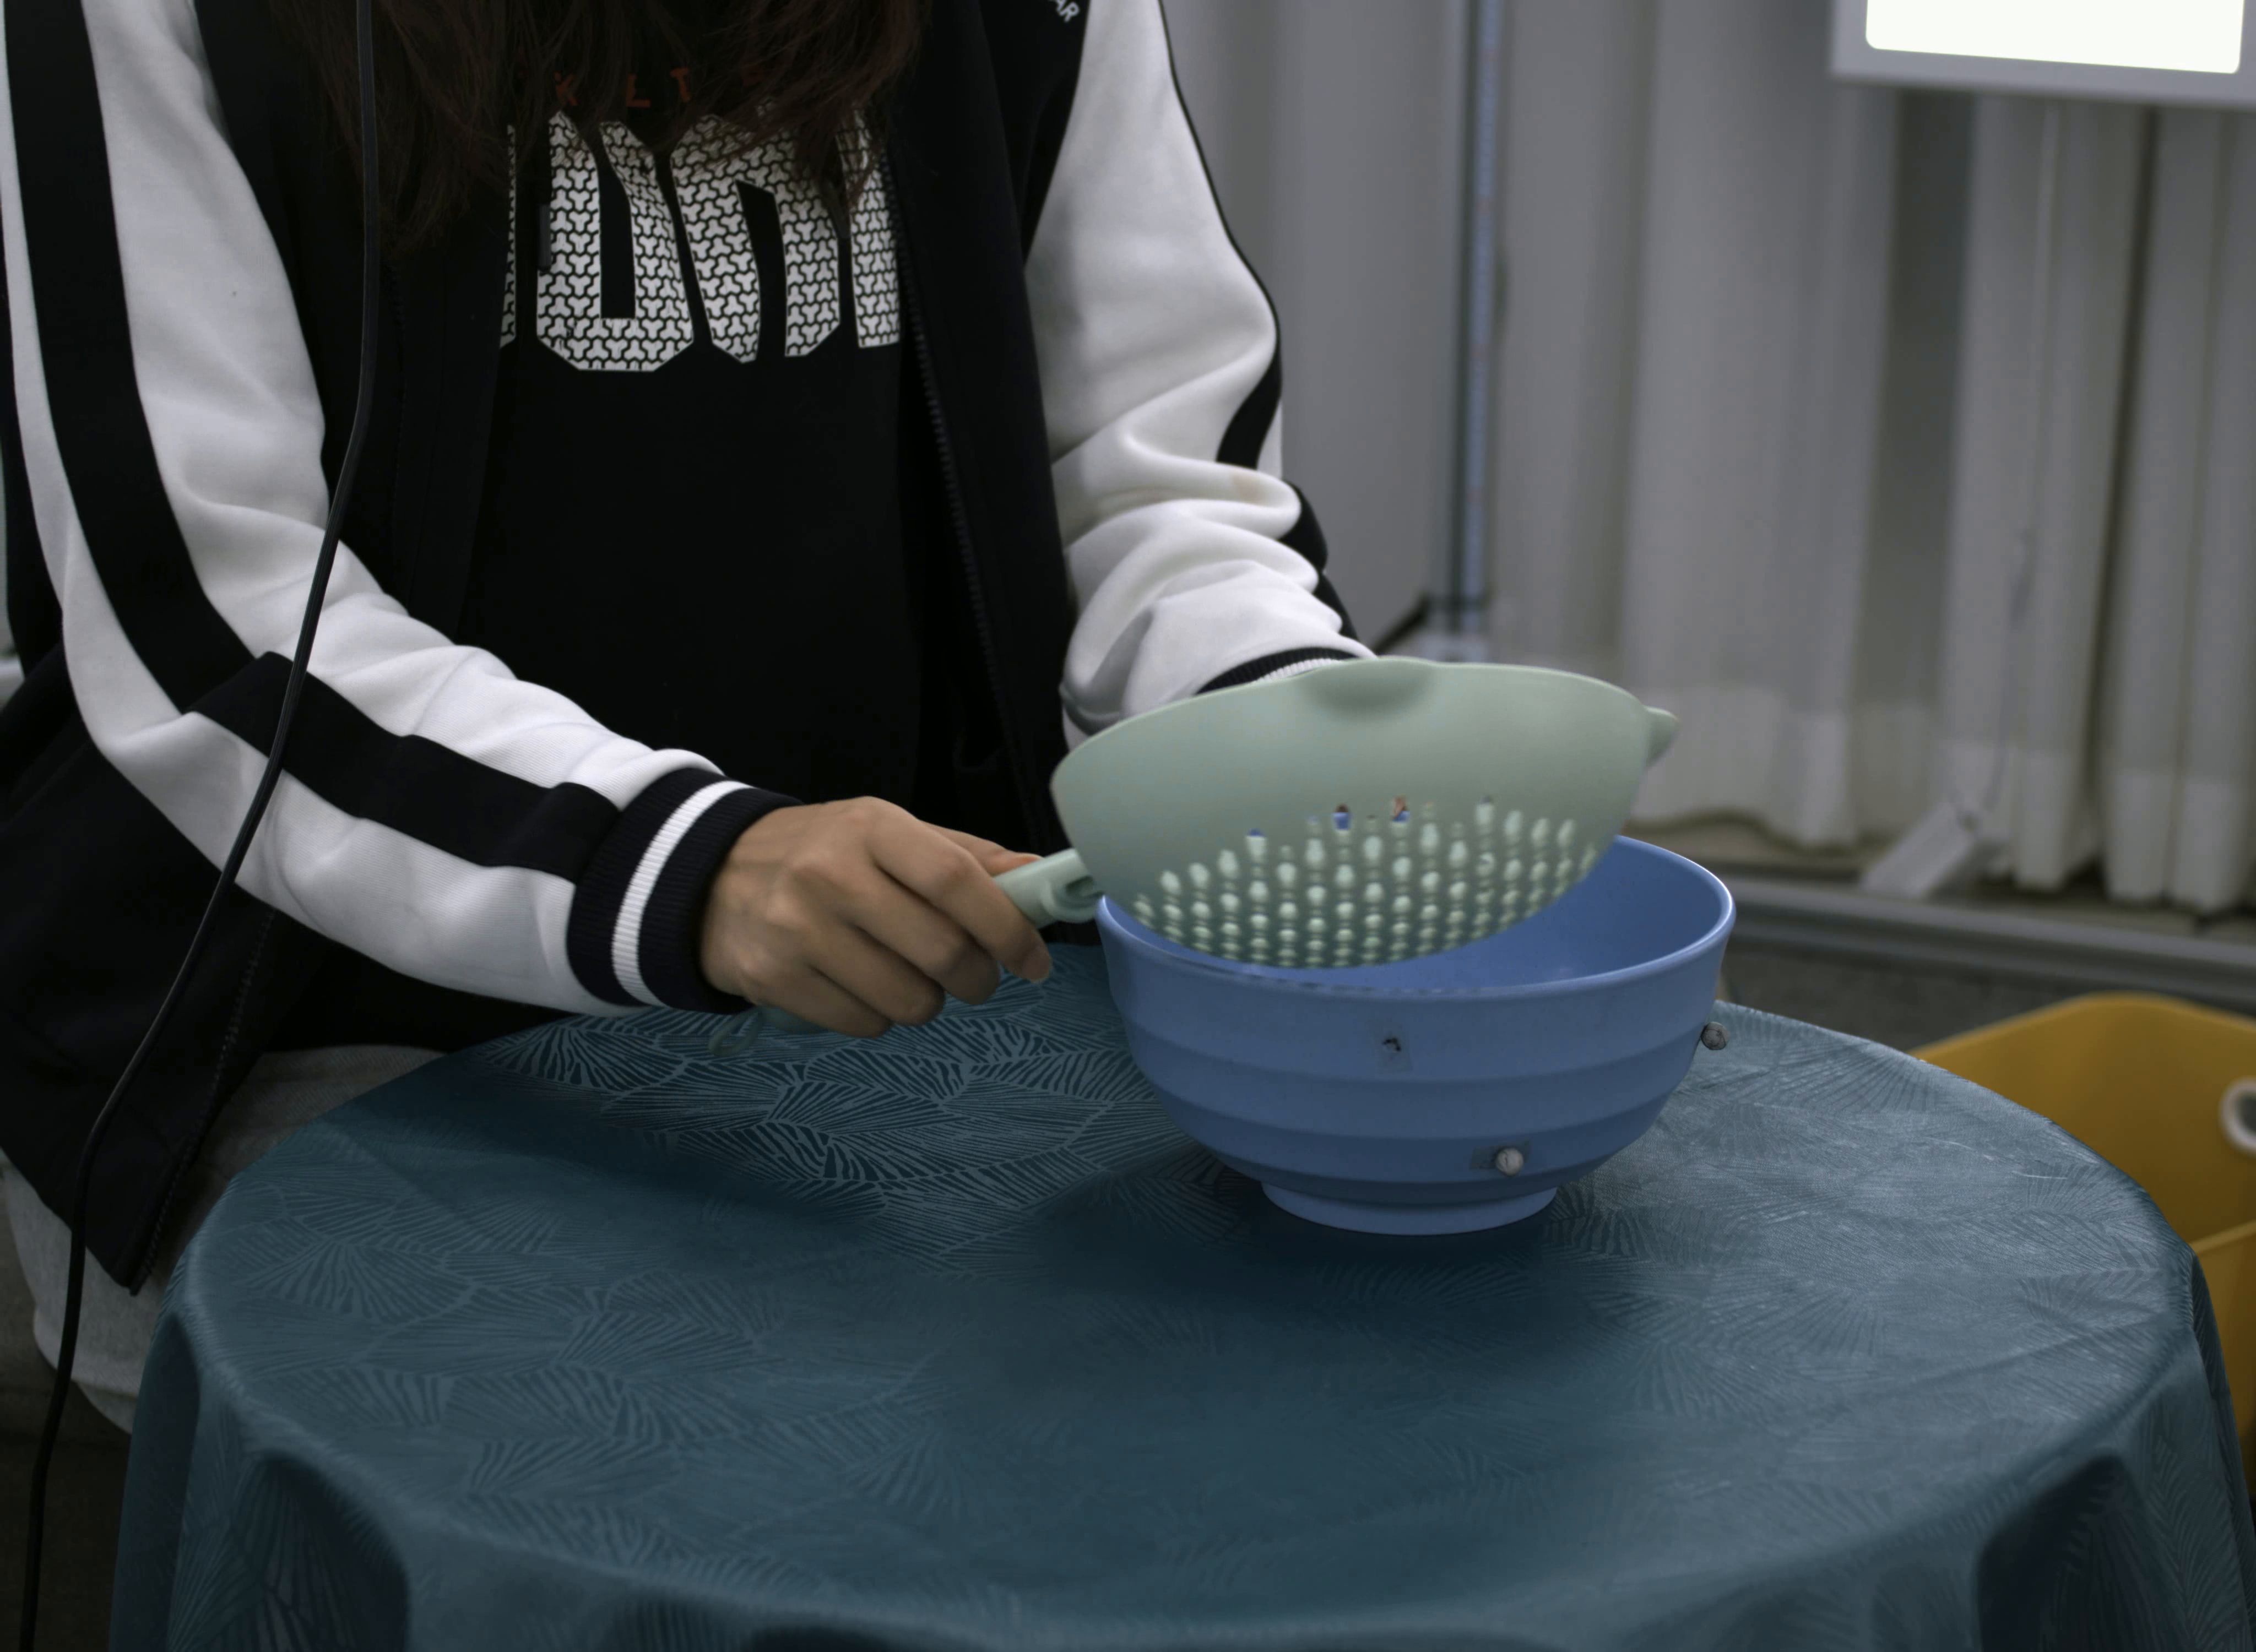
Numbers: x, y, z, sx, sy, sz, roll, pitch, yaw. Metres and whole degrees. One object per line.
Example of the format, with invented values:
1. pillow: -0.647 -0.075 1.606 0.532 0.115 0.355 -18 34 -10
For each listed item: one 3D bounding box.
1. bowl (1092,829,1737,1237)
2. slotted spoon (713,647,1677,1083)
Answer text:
1. bowl: 0.087 0.066 1.613 0.196 0.096 0.195 0 16 1
2. slotted spoon: -0.004 0.018 1.537 0.171 0.075 0.355 10 -15 -44
